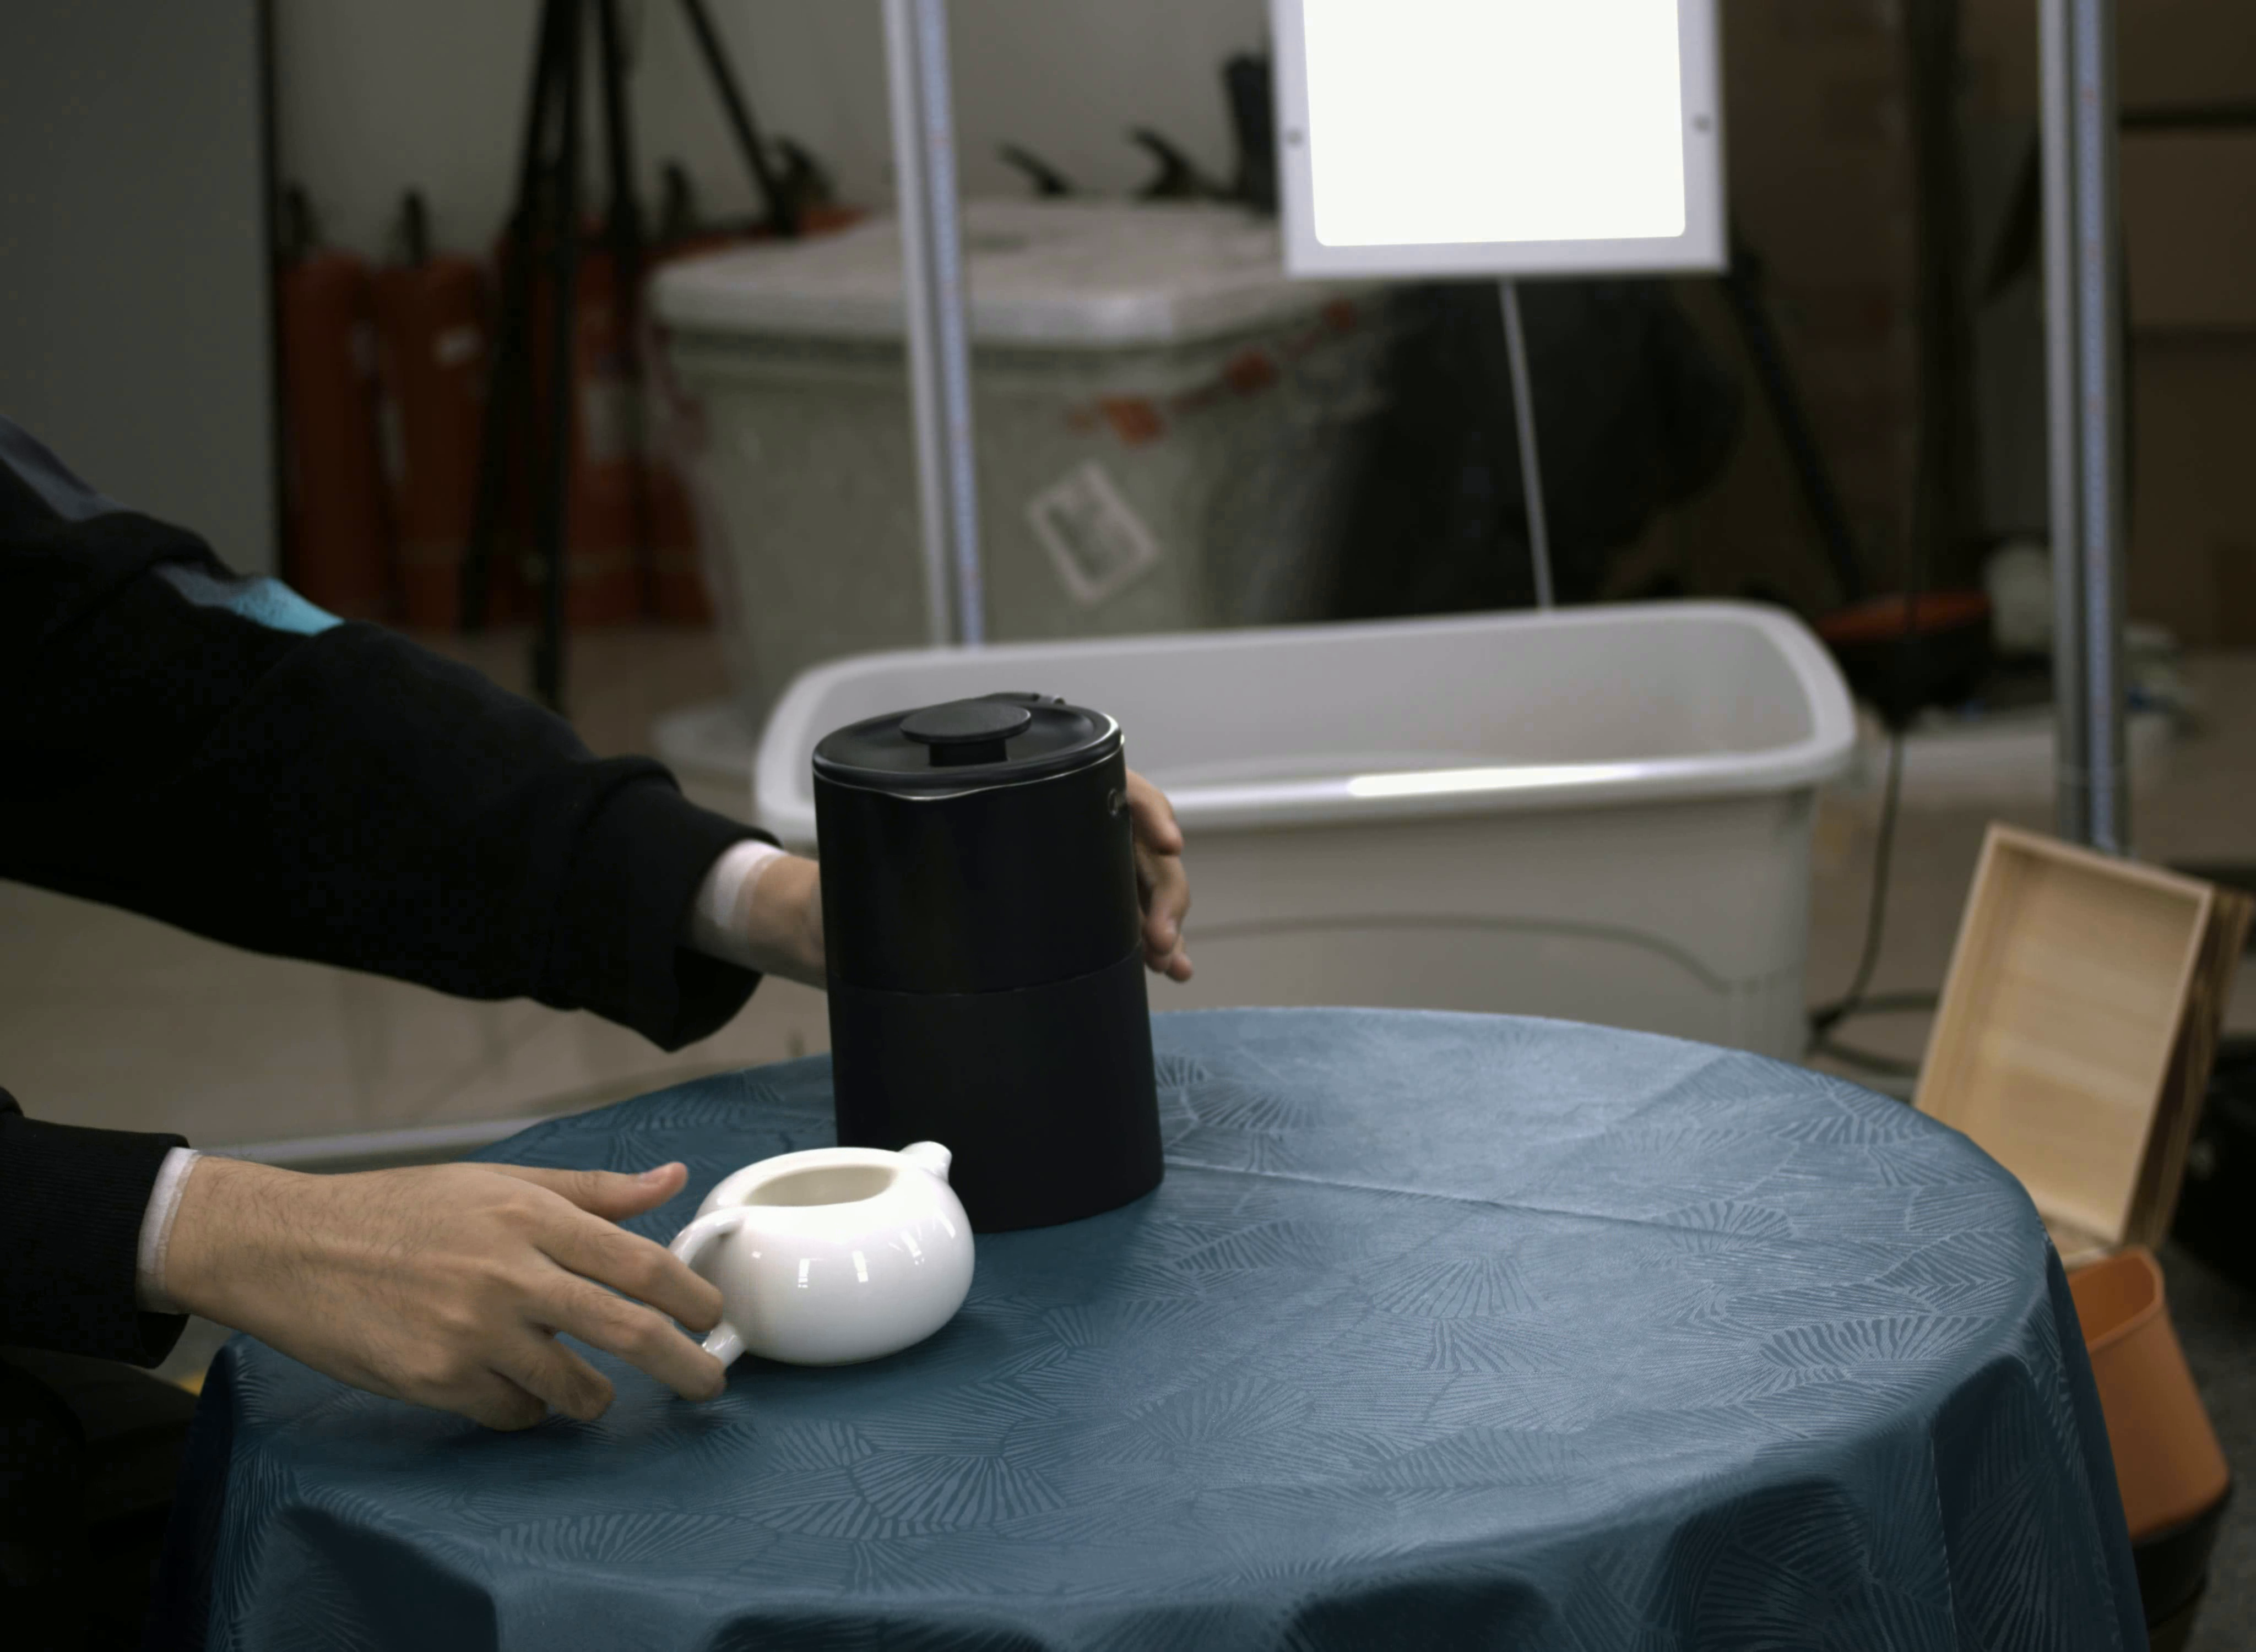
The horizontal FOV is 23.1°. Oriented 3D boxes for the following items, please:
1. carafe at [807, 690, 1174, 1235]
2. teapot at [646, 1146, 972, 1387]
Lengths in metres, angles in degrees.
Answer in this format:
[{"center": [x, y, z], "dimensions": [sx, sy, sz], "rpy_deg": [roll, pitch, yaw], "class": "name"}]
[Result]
[{"center": [-0.046, 0.037, 1.916], "dimensions": [0.115, 0.174, 0.170], "rpy_deg": [-4, 16, 12], "class": "carafe"}, {"center": [-0.104, 0.142, 1.758], "dimensions": [0.095, 0.057, 0.124], "rpy_deg": [13, 22, 41], "class": "teapot"}]
